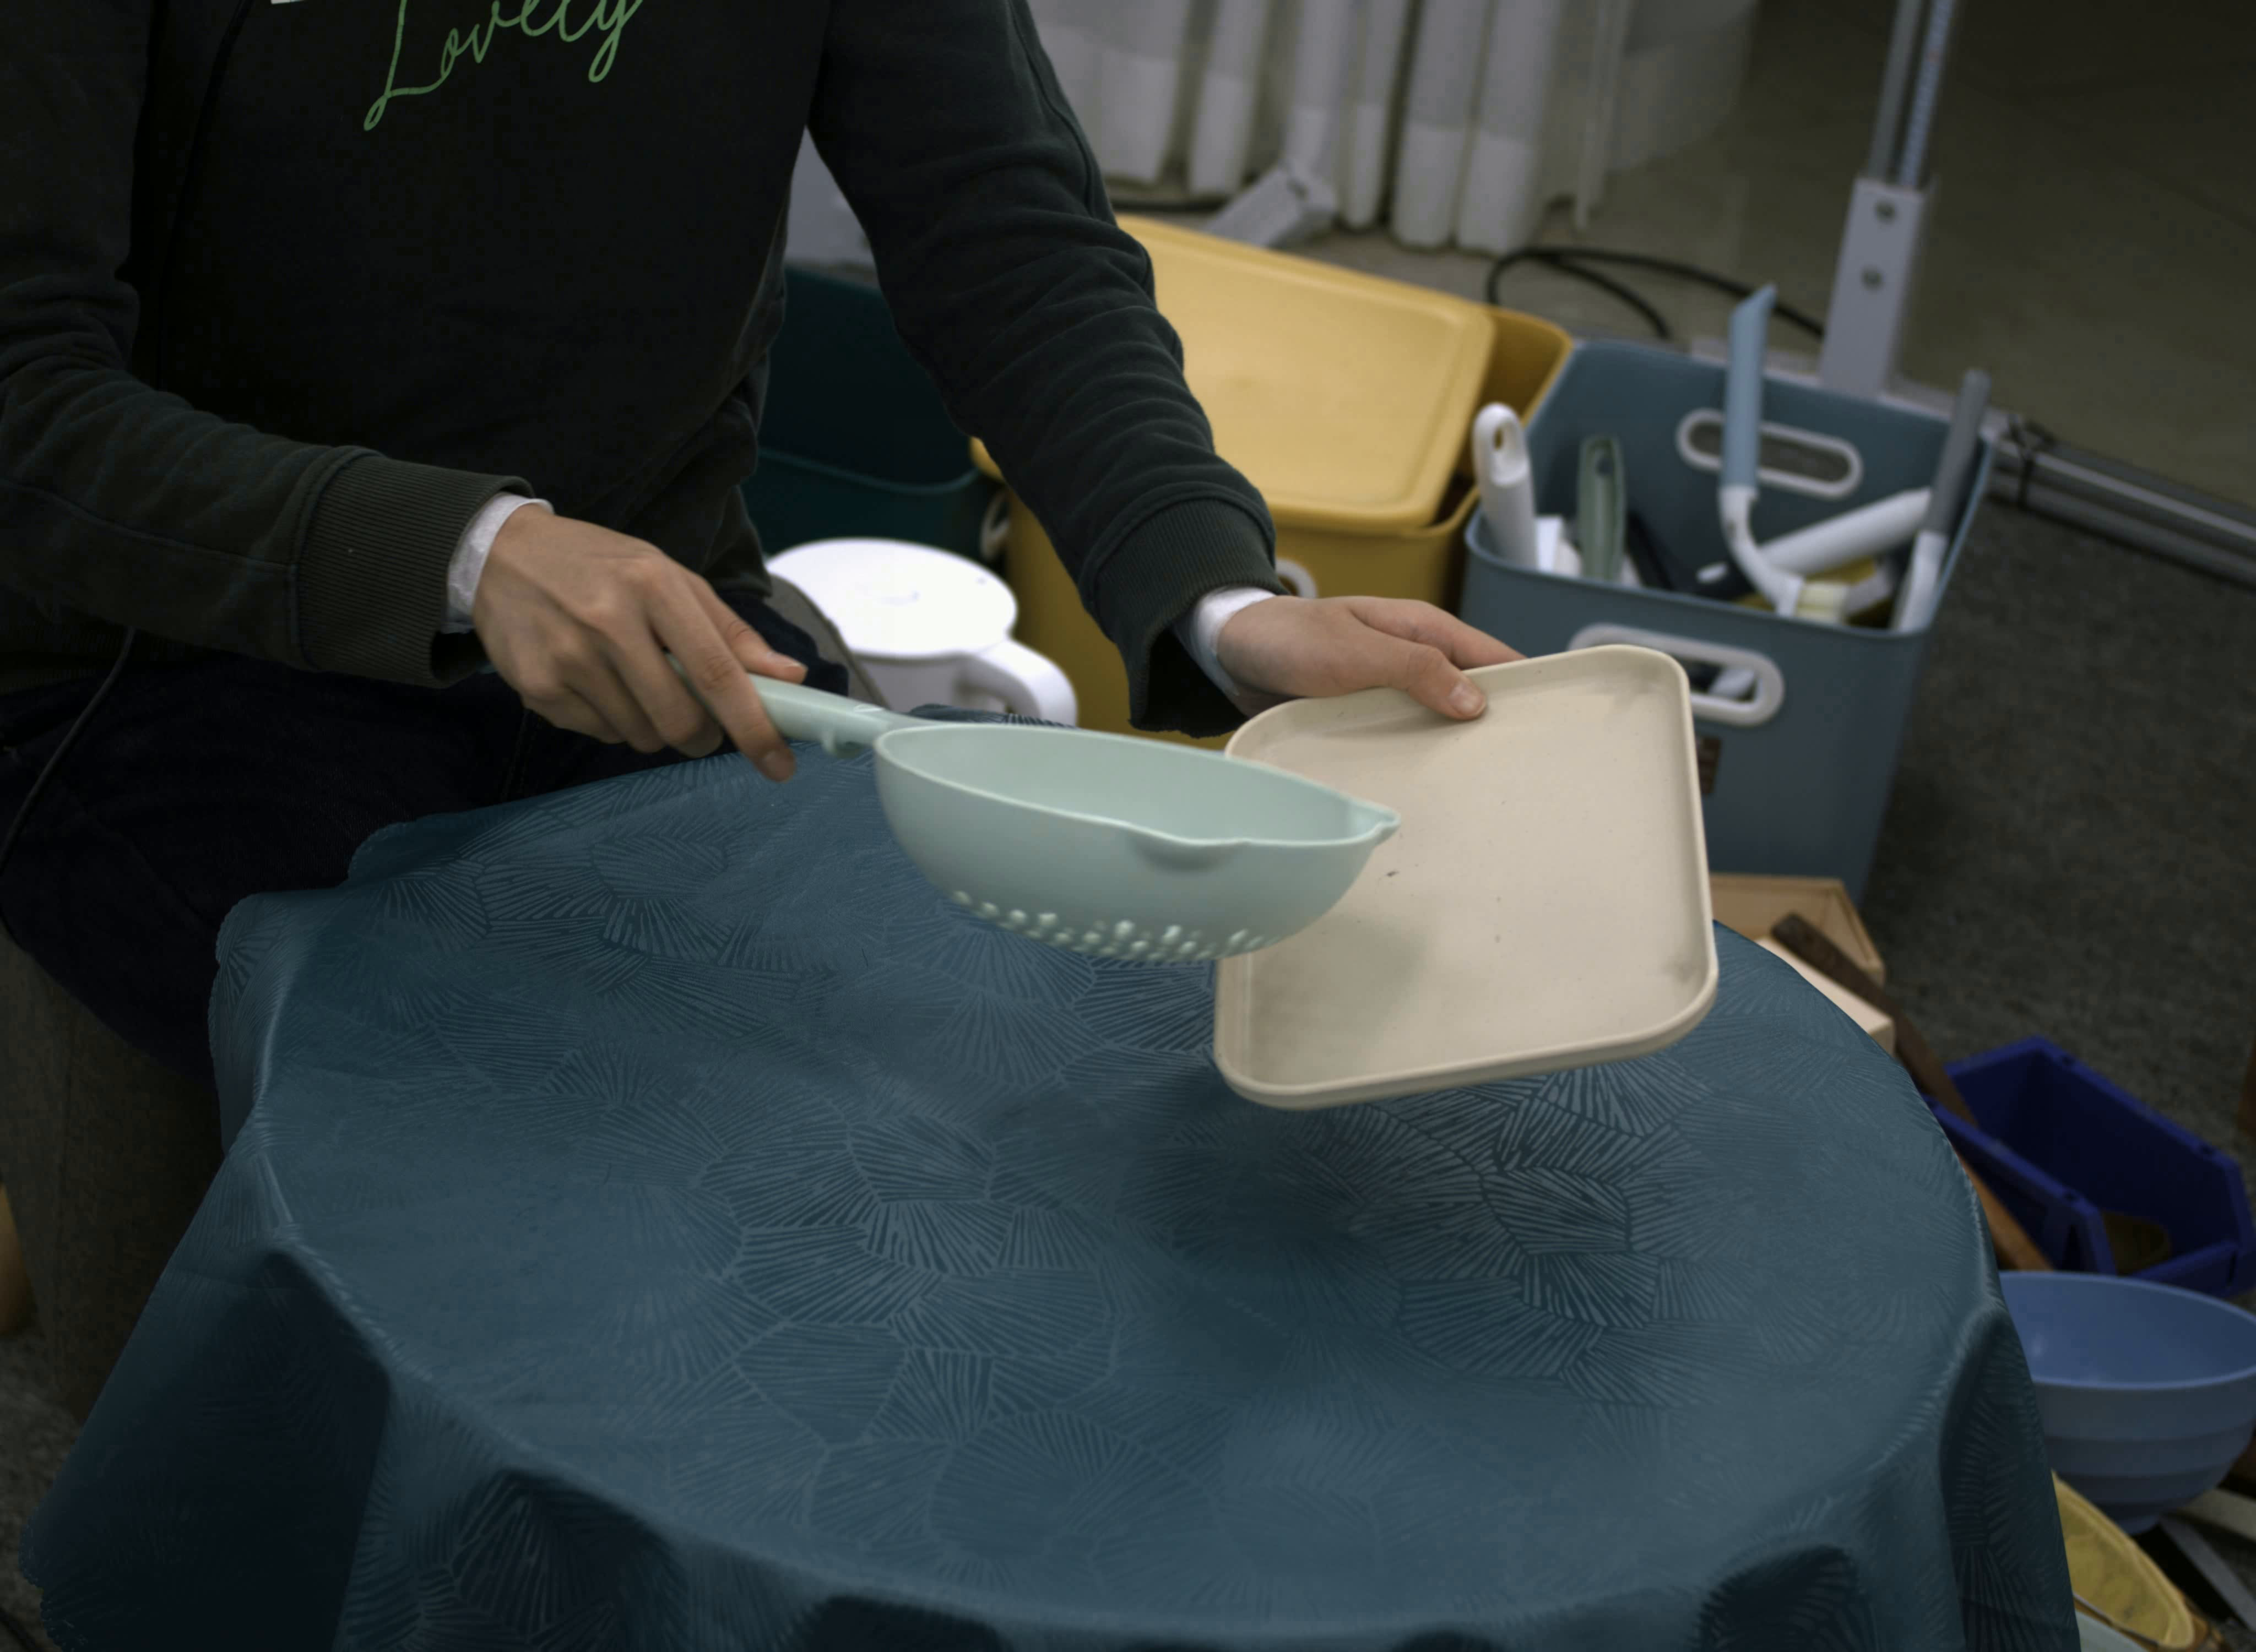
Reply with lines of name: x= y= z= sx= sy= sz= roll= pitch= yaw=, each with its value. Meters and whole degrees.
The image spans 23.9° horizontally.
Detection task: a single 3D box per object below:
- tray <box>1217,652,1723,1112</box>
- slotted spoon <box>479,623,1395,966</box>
tray: x=0.115 y=0.018 z=1.825 sx=0.171 sy=0.017 sz=0.241 roll=-10 pitch=32 yaw=9
slotted spoon: x=-0.083 y=-0.025 z=1.807 sx=0.361 sy=0.075 sz=0.168 roll=25 pitch=14 yaw=32
